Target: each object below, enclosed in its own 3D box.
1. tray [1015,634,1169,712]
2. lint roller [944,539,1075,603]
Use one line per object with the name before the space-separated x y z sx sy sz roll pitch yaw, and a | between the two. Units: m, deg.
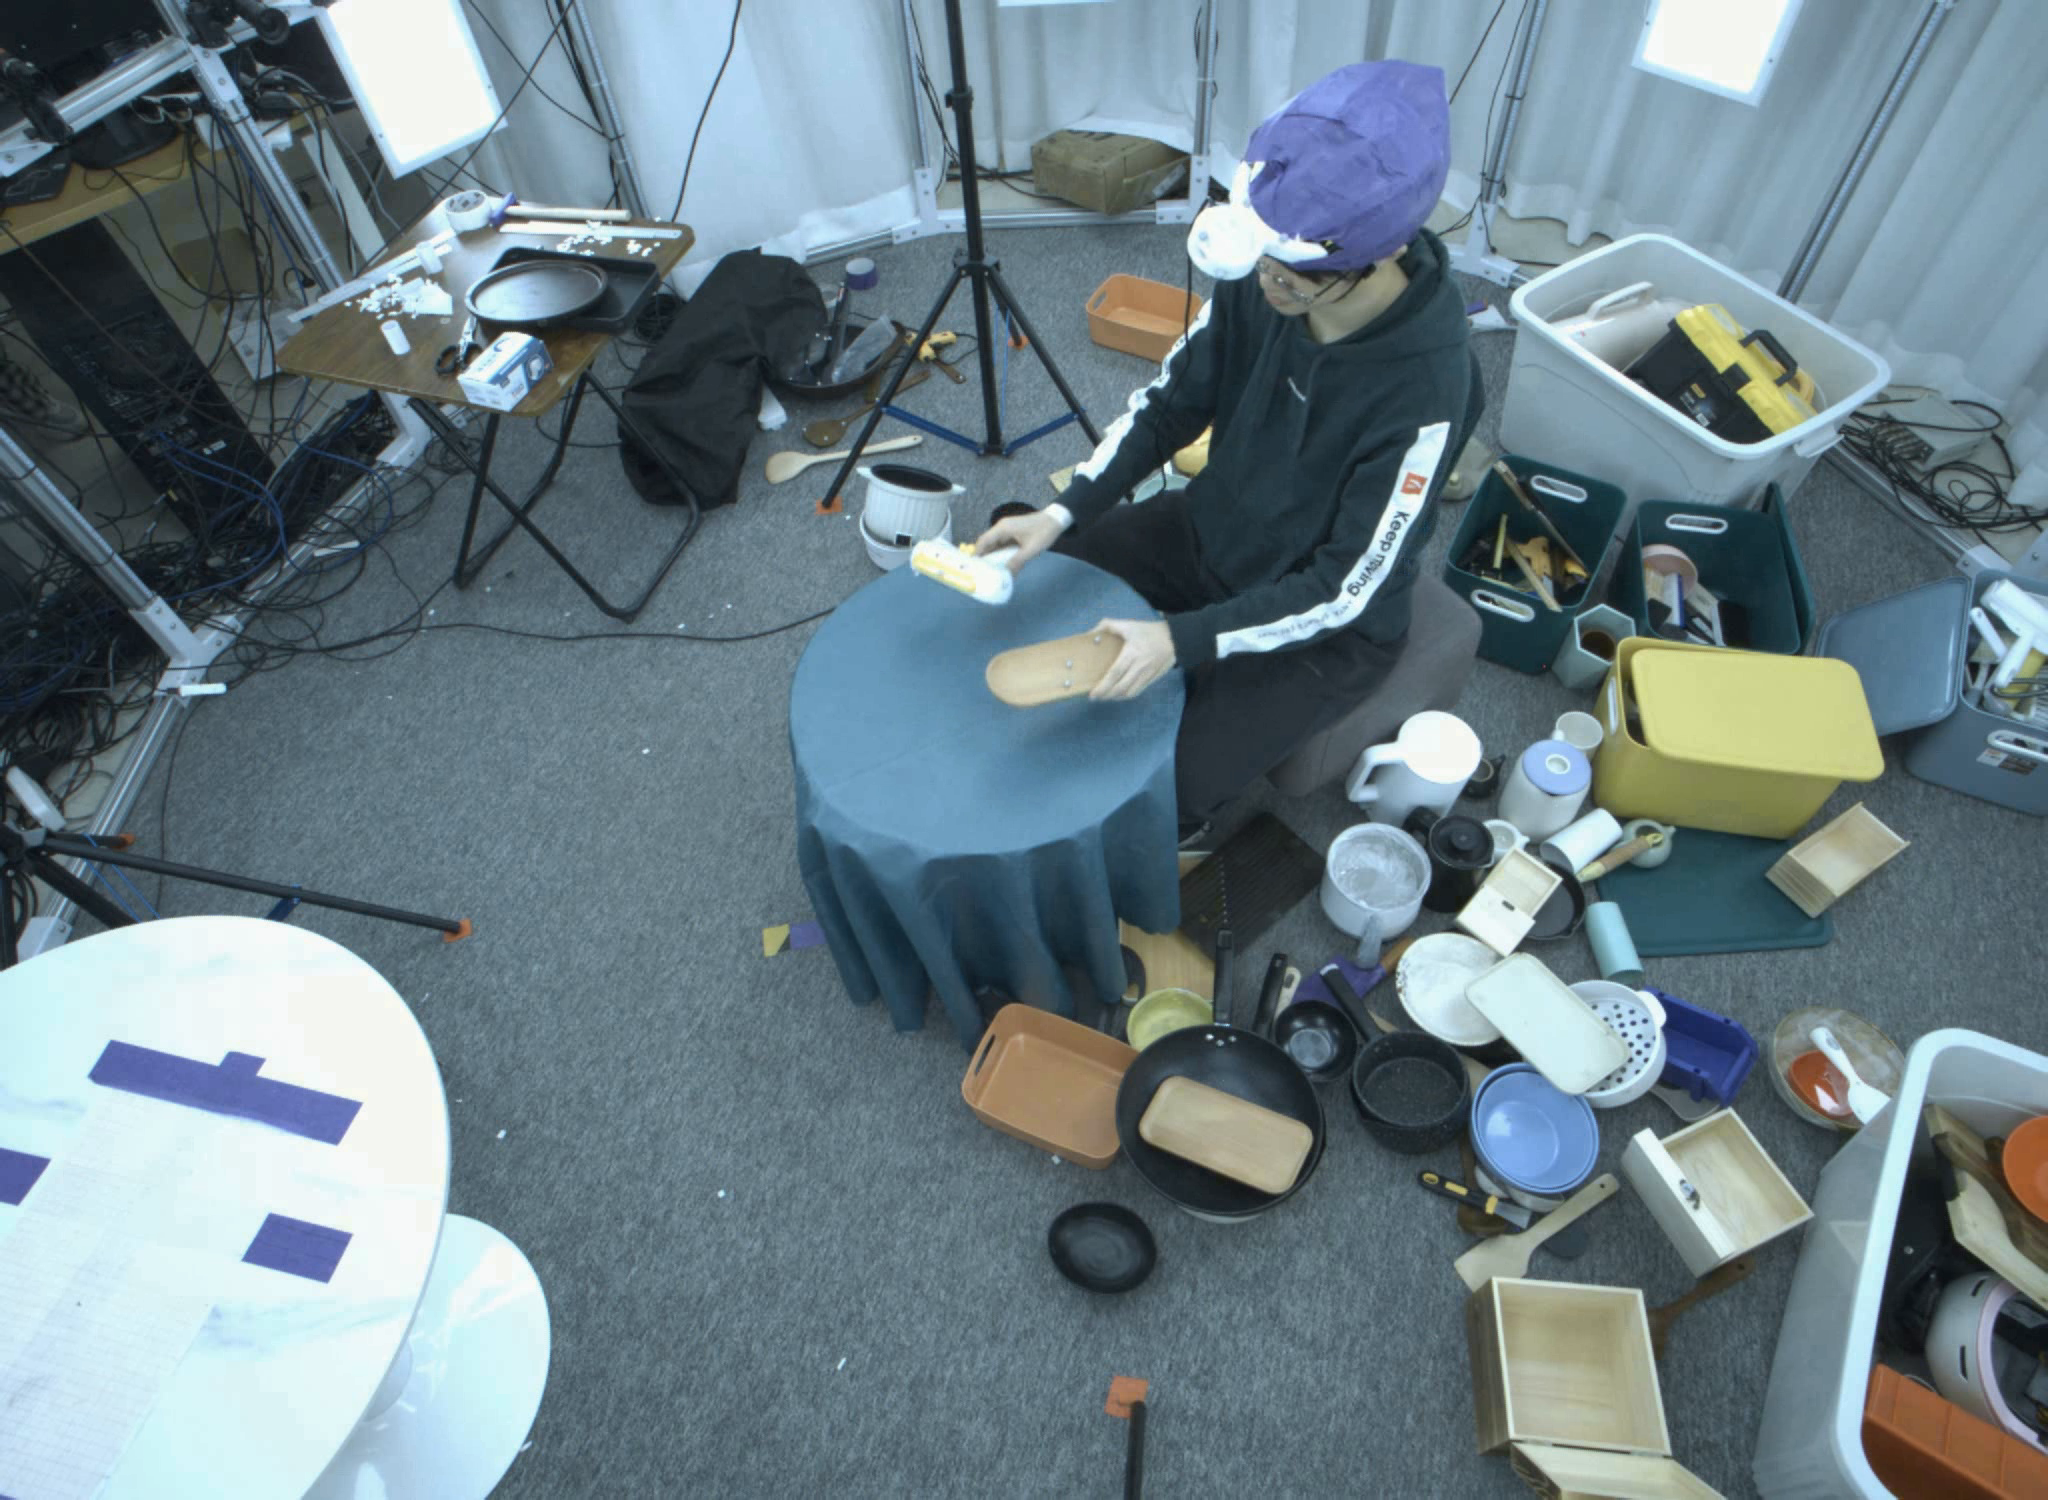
tray | 0.096 -0.108 1.729 0.234 0.020 0.100 -14 58 -20
lint roller | 0.001 -0.281 1.845 0.188 0.074 0.196 23 26 38
